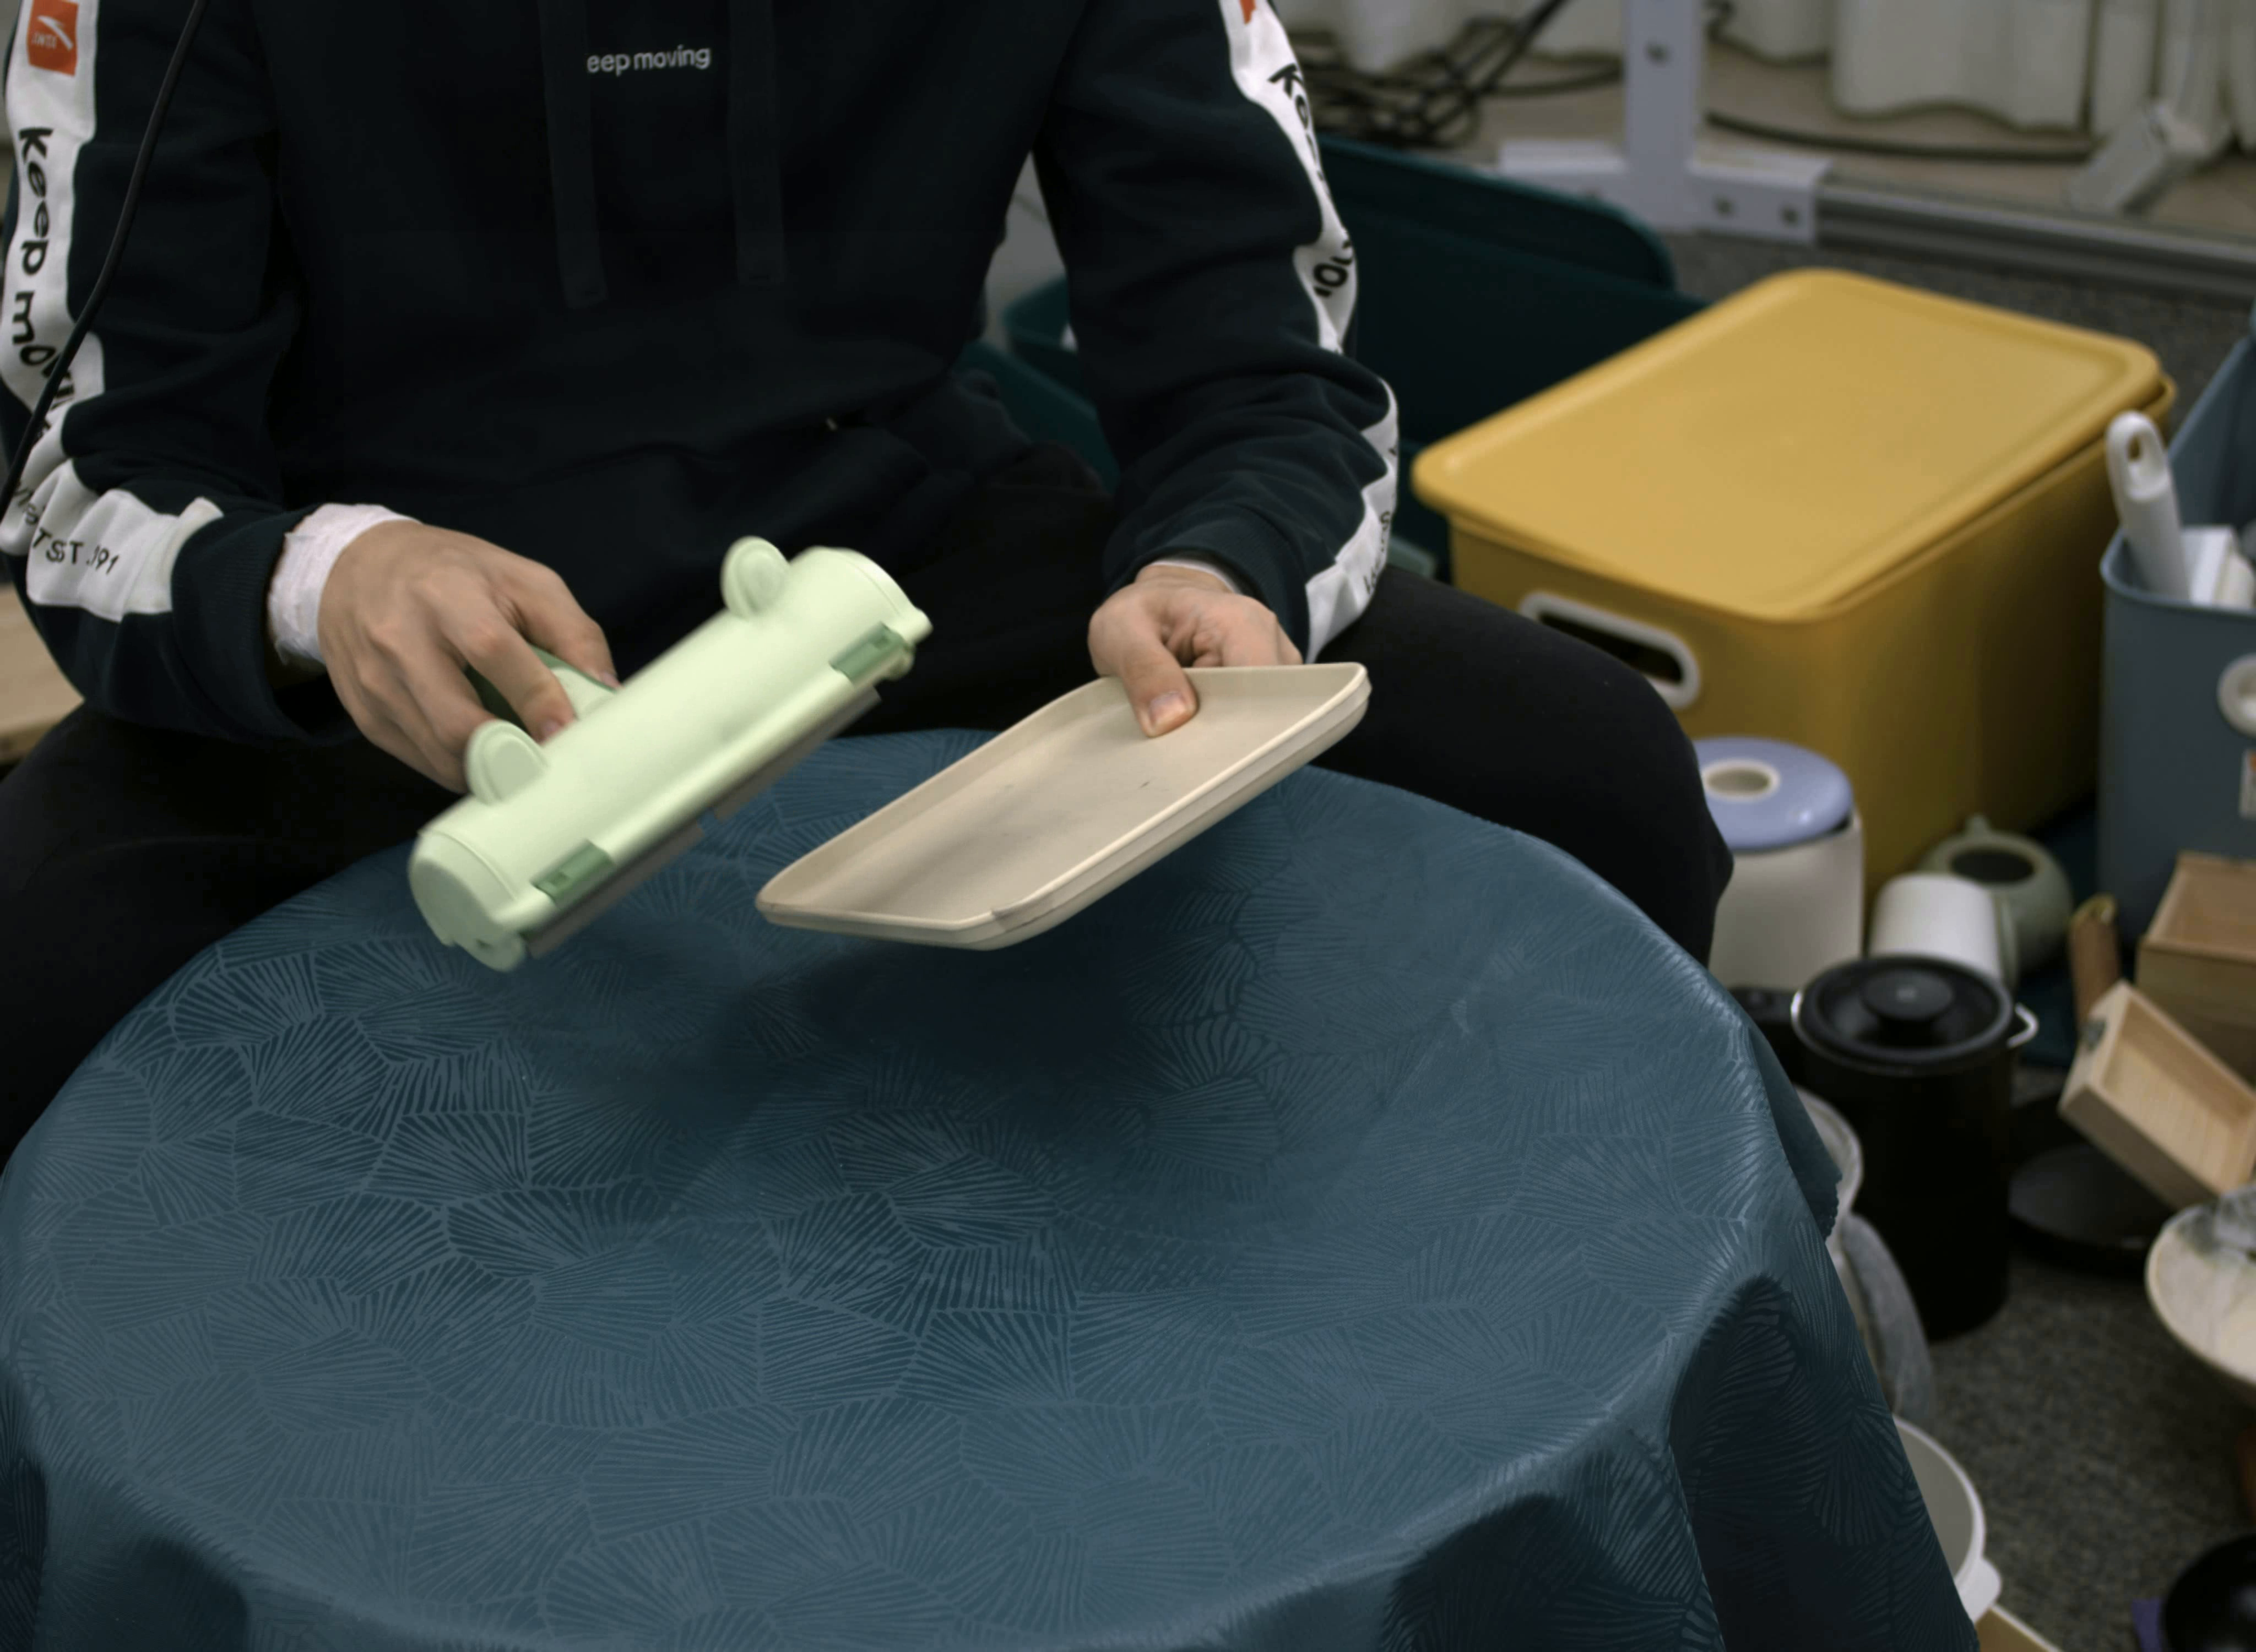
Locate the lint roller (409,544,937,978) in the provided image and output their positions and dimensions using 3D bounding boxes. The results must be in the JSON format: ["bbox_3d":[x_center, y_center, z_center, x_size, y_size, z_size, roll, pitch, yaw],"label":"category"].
[{"bbox_3d":[-0.192,-0.048,1.927,0.183,0.081,0.201,28,53,37],"label":"lint roller"}]

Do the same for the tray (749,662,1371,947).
[{"bbox_3d":[-0.024,-0.006,1.917,0.173,0.017,0.238,-32,13,-21],"label":"tray"}]
